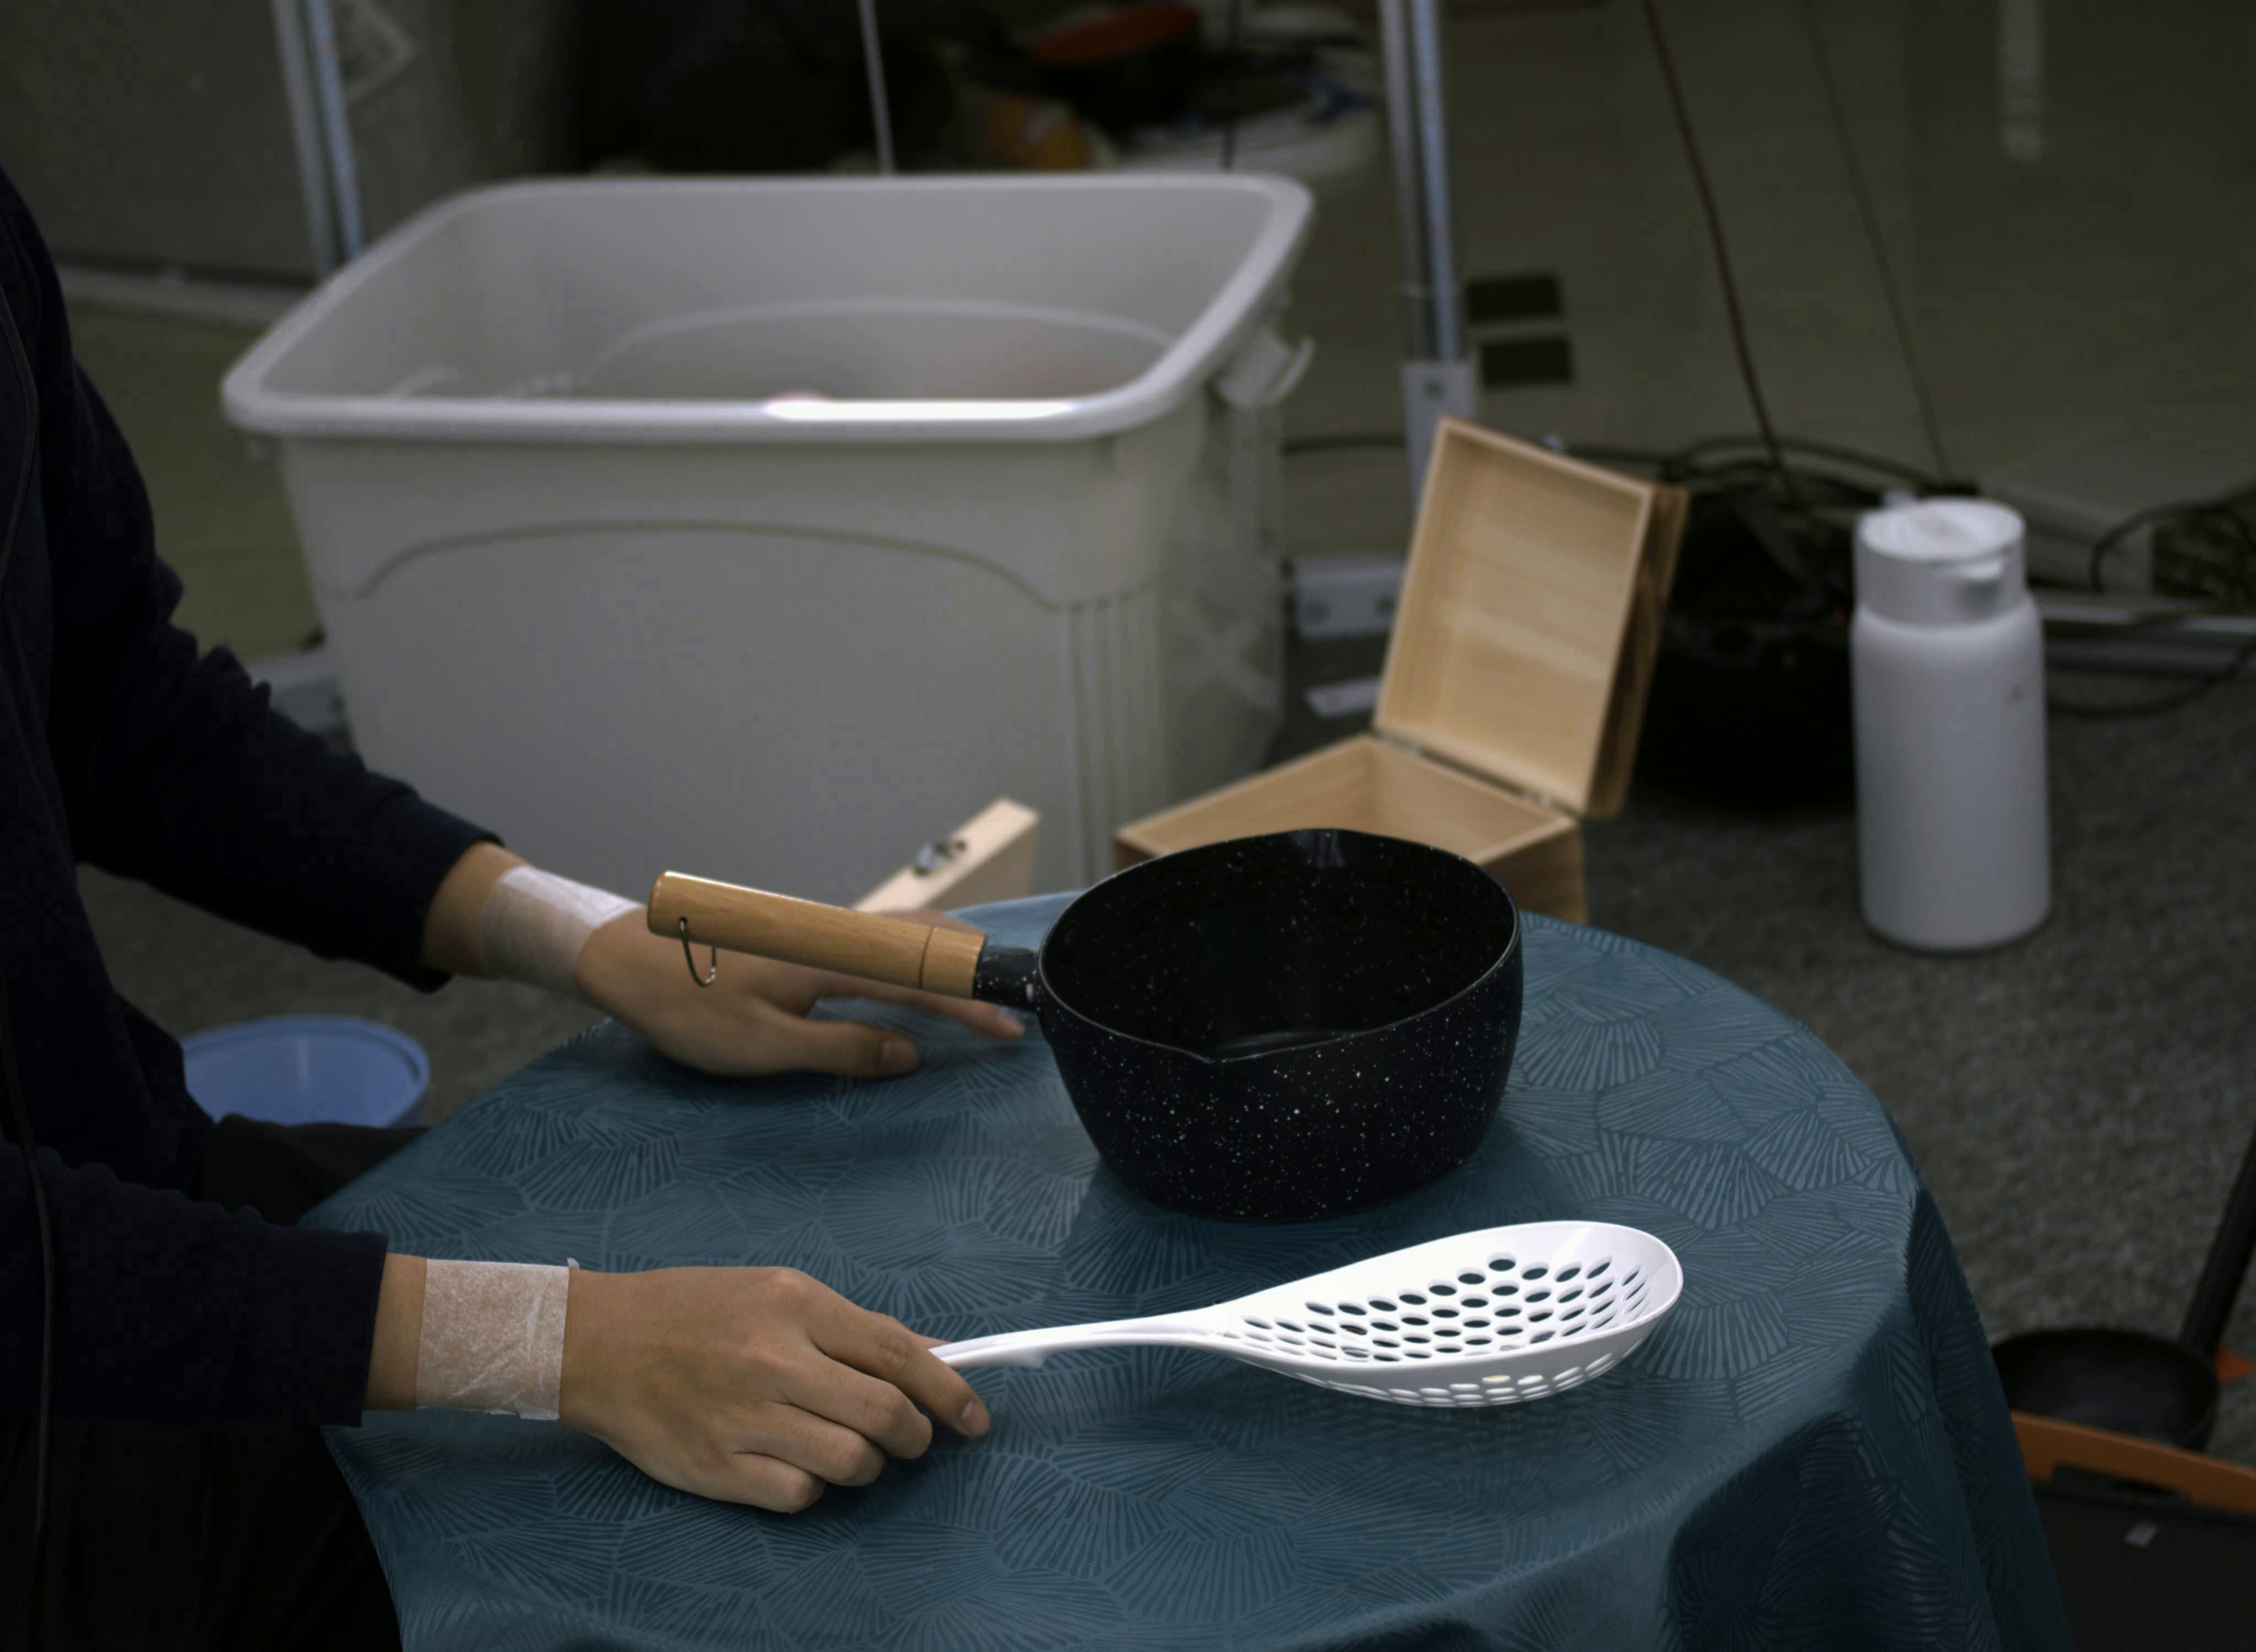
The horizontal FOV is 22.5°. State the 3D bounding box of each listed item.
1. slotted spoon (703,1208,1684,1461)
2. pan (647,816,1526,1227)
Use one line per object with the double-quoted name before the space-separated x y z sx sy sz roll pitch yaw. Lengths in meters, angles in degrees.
"slotted spoon" 0.022 0.186 1.989 0.347 0.051 0.135 -4 16 4
"pan" -0.017 0.069 2.171 0.342 0.110 0.204 1 27 12
